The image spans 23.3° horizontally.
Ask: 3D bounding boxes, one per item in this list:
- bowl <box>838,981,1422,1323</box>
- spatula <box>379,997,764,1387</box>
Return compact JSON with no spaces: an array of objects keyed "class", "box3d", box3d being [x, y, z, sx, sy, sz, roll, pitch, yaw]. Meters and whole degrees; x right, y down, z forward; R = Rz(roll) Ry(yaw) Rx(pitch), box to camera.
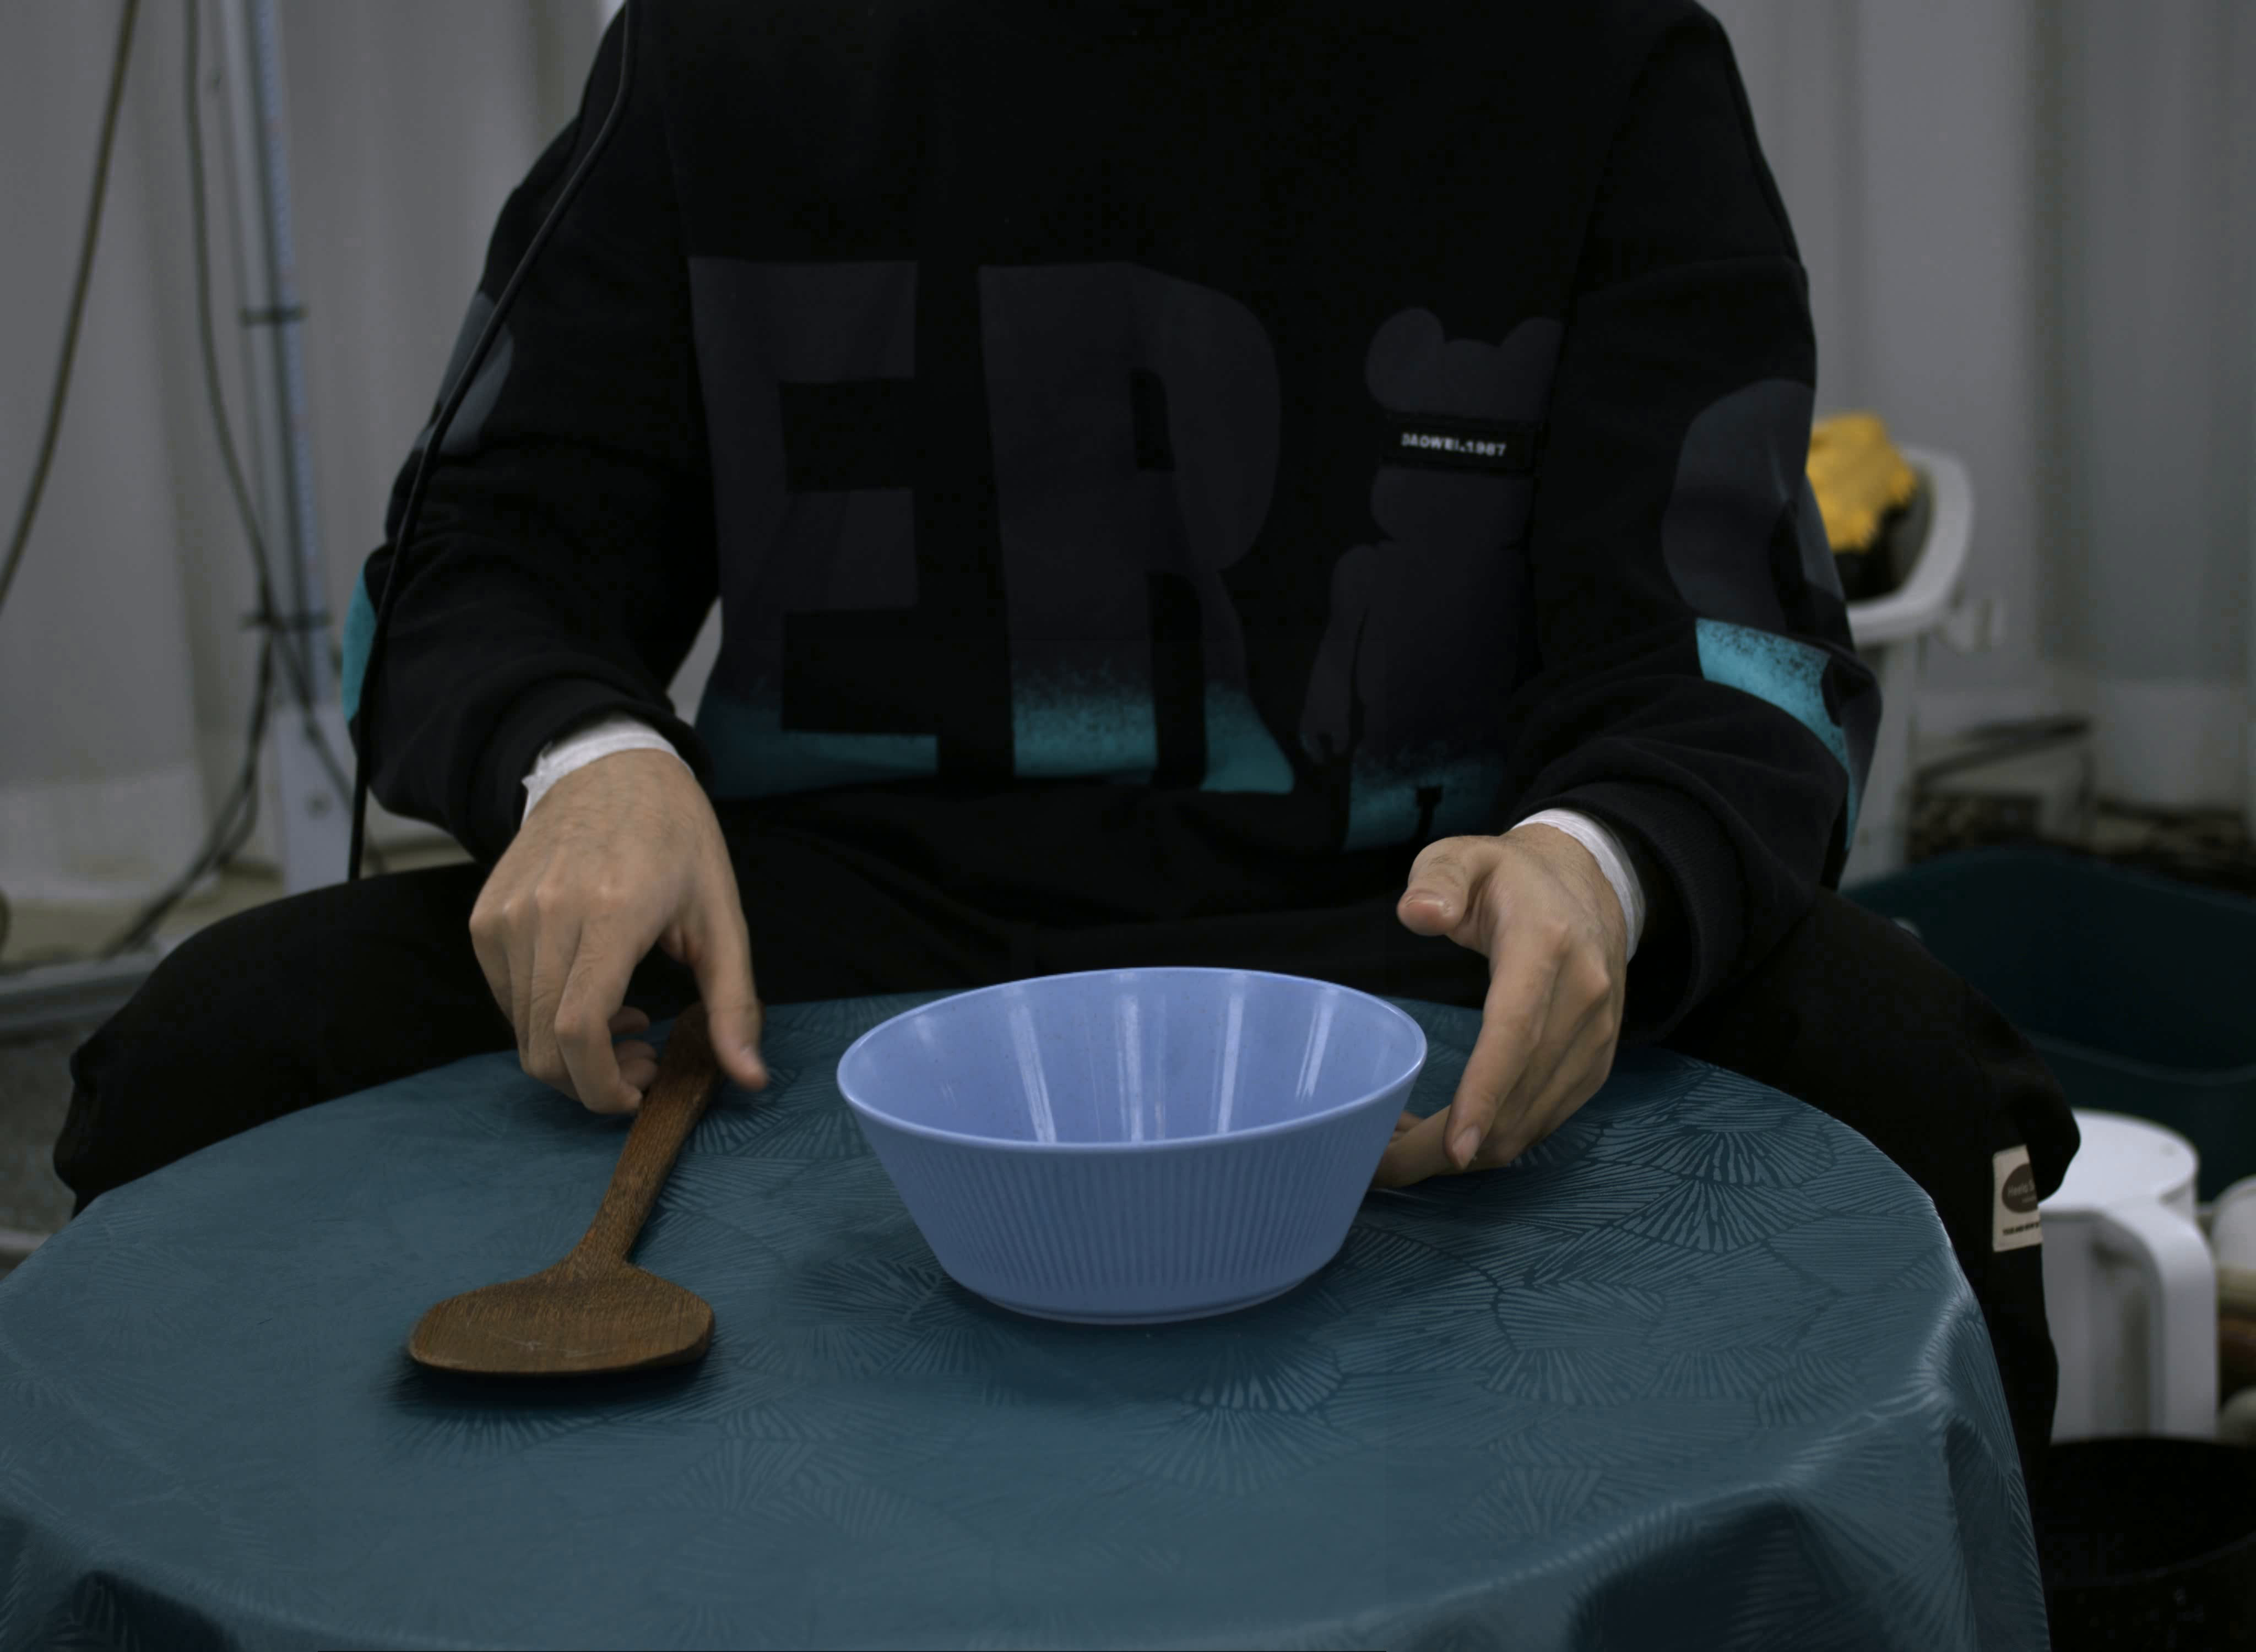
[{"class":"bowl","box3d":[0.002,0.100,1.638,0.175,0.070,0.177,-2,13,0]},{"class":"spatula","box3d":[-0.155,0.110,1.736,0.096,0.016,0.388,-1,15,5]}]
